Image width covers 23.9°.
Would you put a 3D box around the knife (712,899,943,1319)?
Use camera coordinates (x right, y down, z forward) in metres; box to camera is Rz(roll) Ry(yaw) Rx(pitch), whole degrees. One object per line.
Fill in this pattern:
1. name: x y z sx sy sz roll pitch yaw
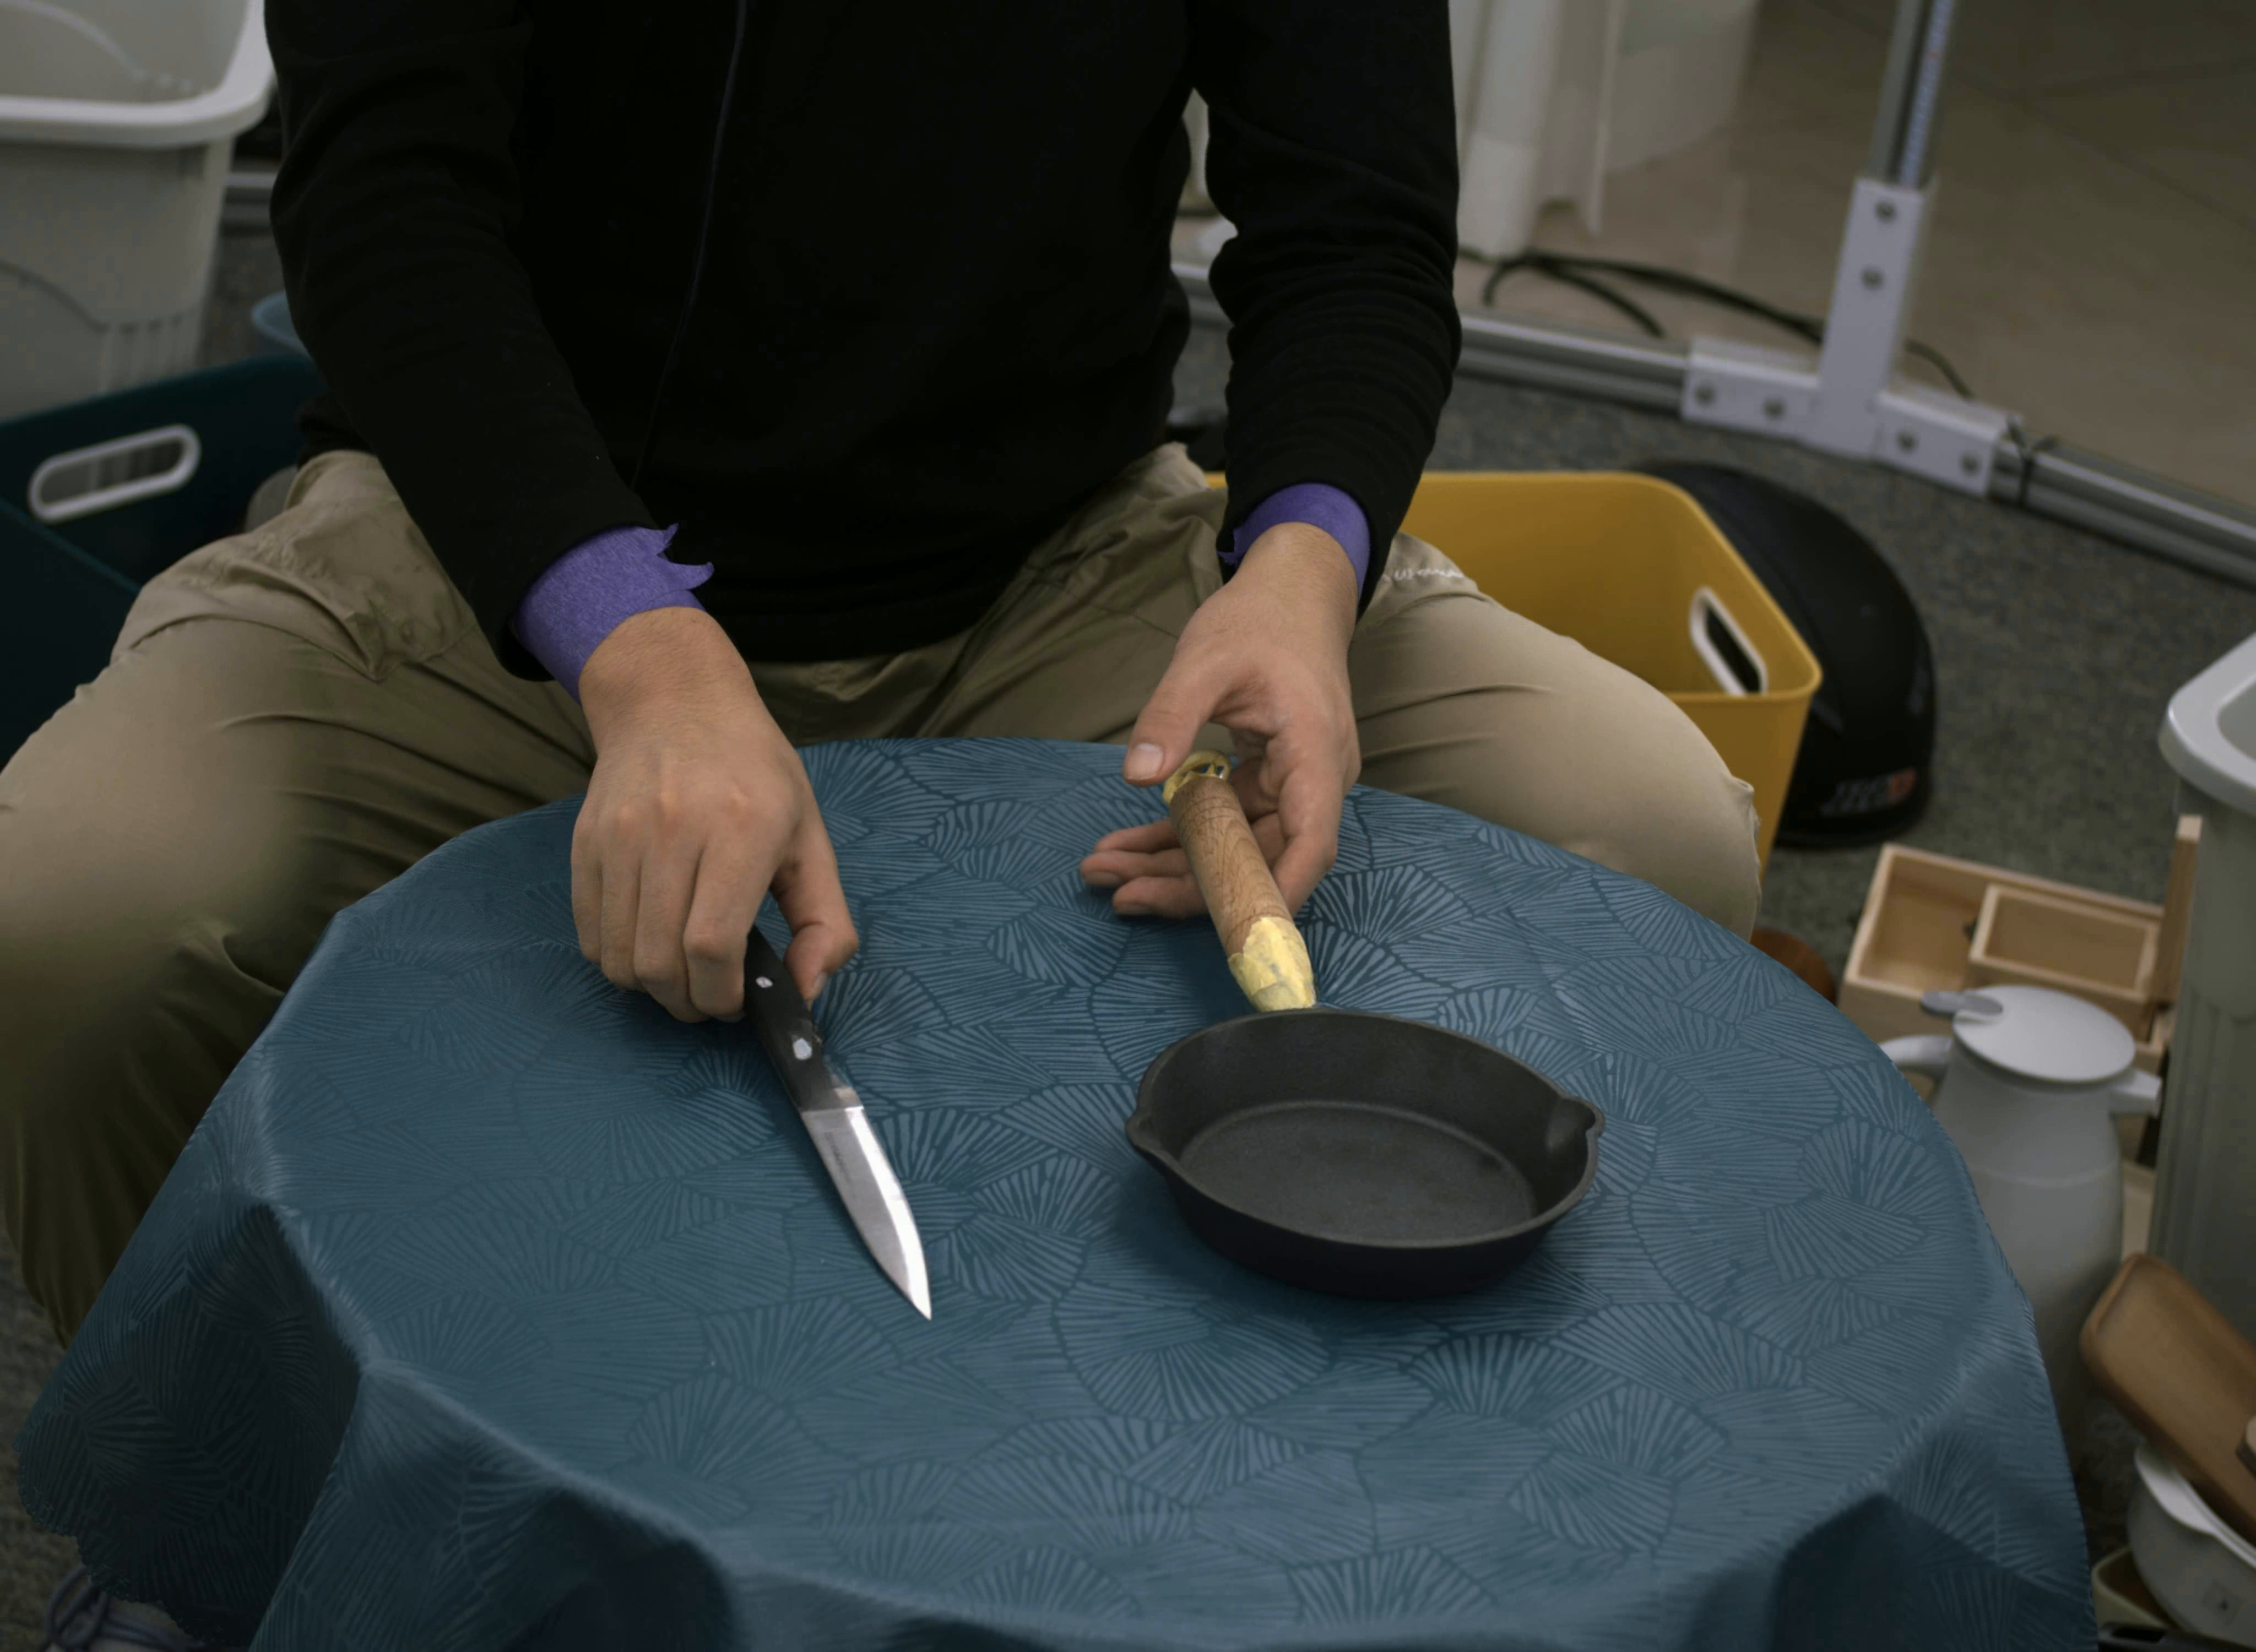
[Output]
1. knife: -0.104 0.095 1.814 0.024 0.016 0.240 -8 35 -18

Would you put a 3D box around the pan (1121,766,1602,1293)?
1. pan: 0.061 0.069 1.876 0.168 0.049 0.327 0 27 -14
